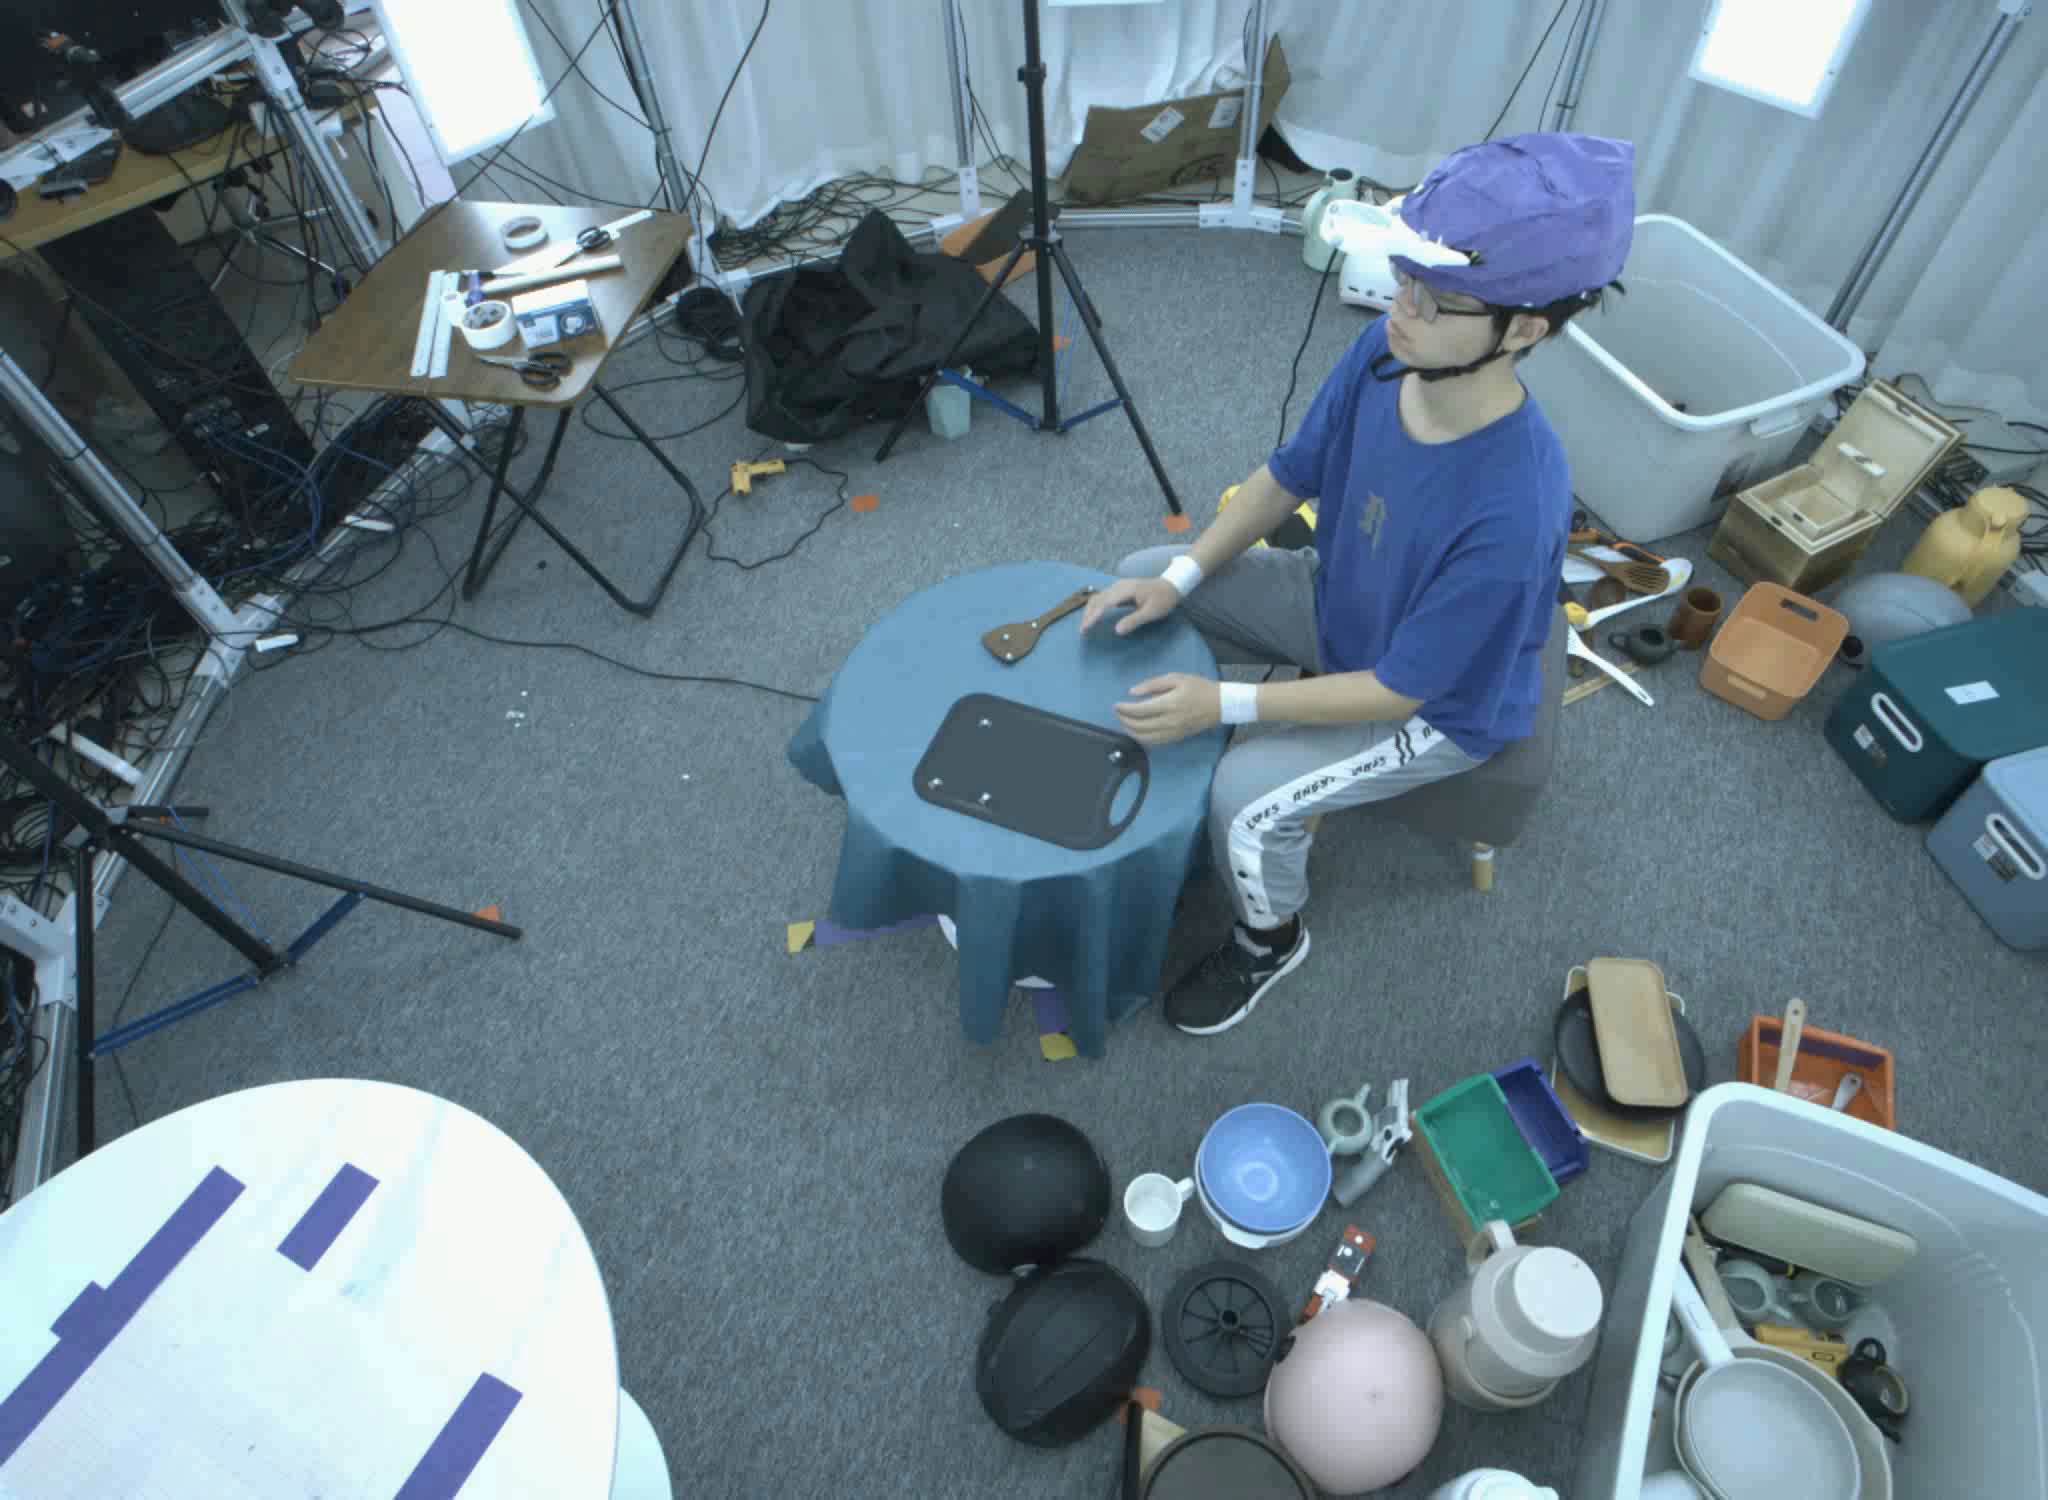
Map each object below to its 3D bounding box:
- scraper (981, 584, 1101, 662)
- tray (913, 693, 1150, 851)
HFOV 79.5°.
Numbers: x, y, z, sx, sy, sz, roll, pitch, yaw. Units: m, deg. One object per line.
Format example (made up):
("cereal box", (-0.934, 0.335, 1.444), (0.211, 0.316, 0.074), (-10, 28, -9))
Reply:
("scraper", (0.033, -0.204, 1.918), (0.213, 0.011, 0.074), (-33, 61, -21))
("tray", (0.017, 0.027, 1.754), (0.322, 0.010, 0.211), (18, 57, 14))
